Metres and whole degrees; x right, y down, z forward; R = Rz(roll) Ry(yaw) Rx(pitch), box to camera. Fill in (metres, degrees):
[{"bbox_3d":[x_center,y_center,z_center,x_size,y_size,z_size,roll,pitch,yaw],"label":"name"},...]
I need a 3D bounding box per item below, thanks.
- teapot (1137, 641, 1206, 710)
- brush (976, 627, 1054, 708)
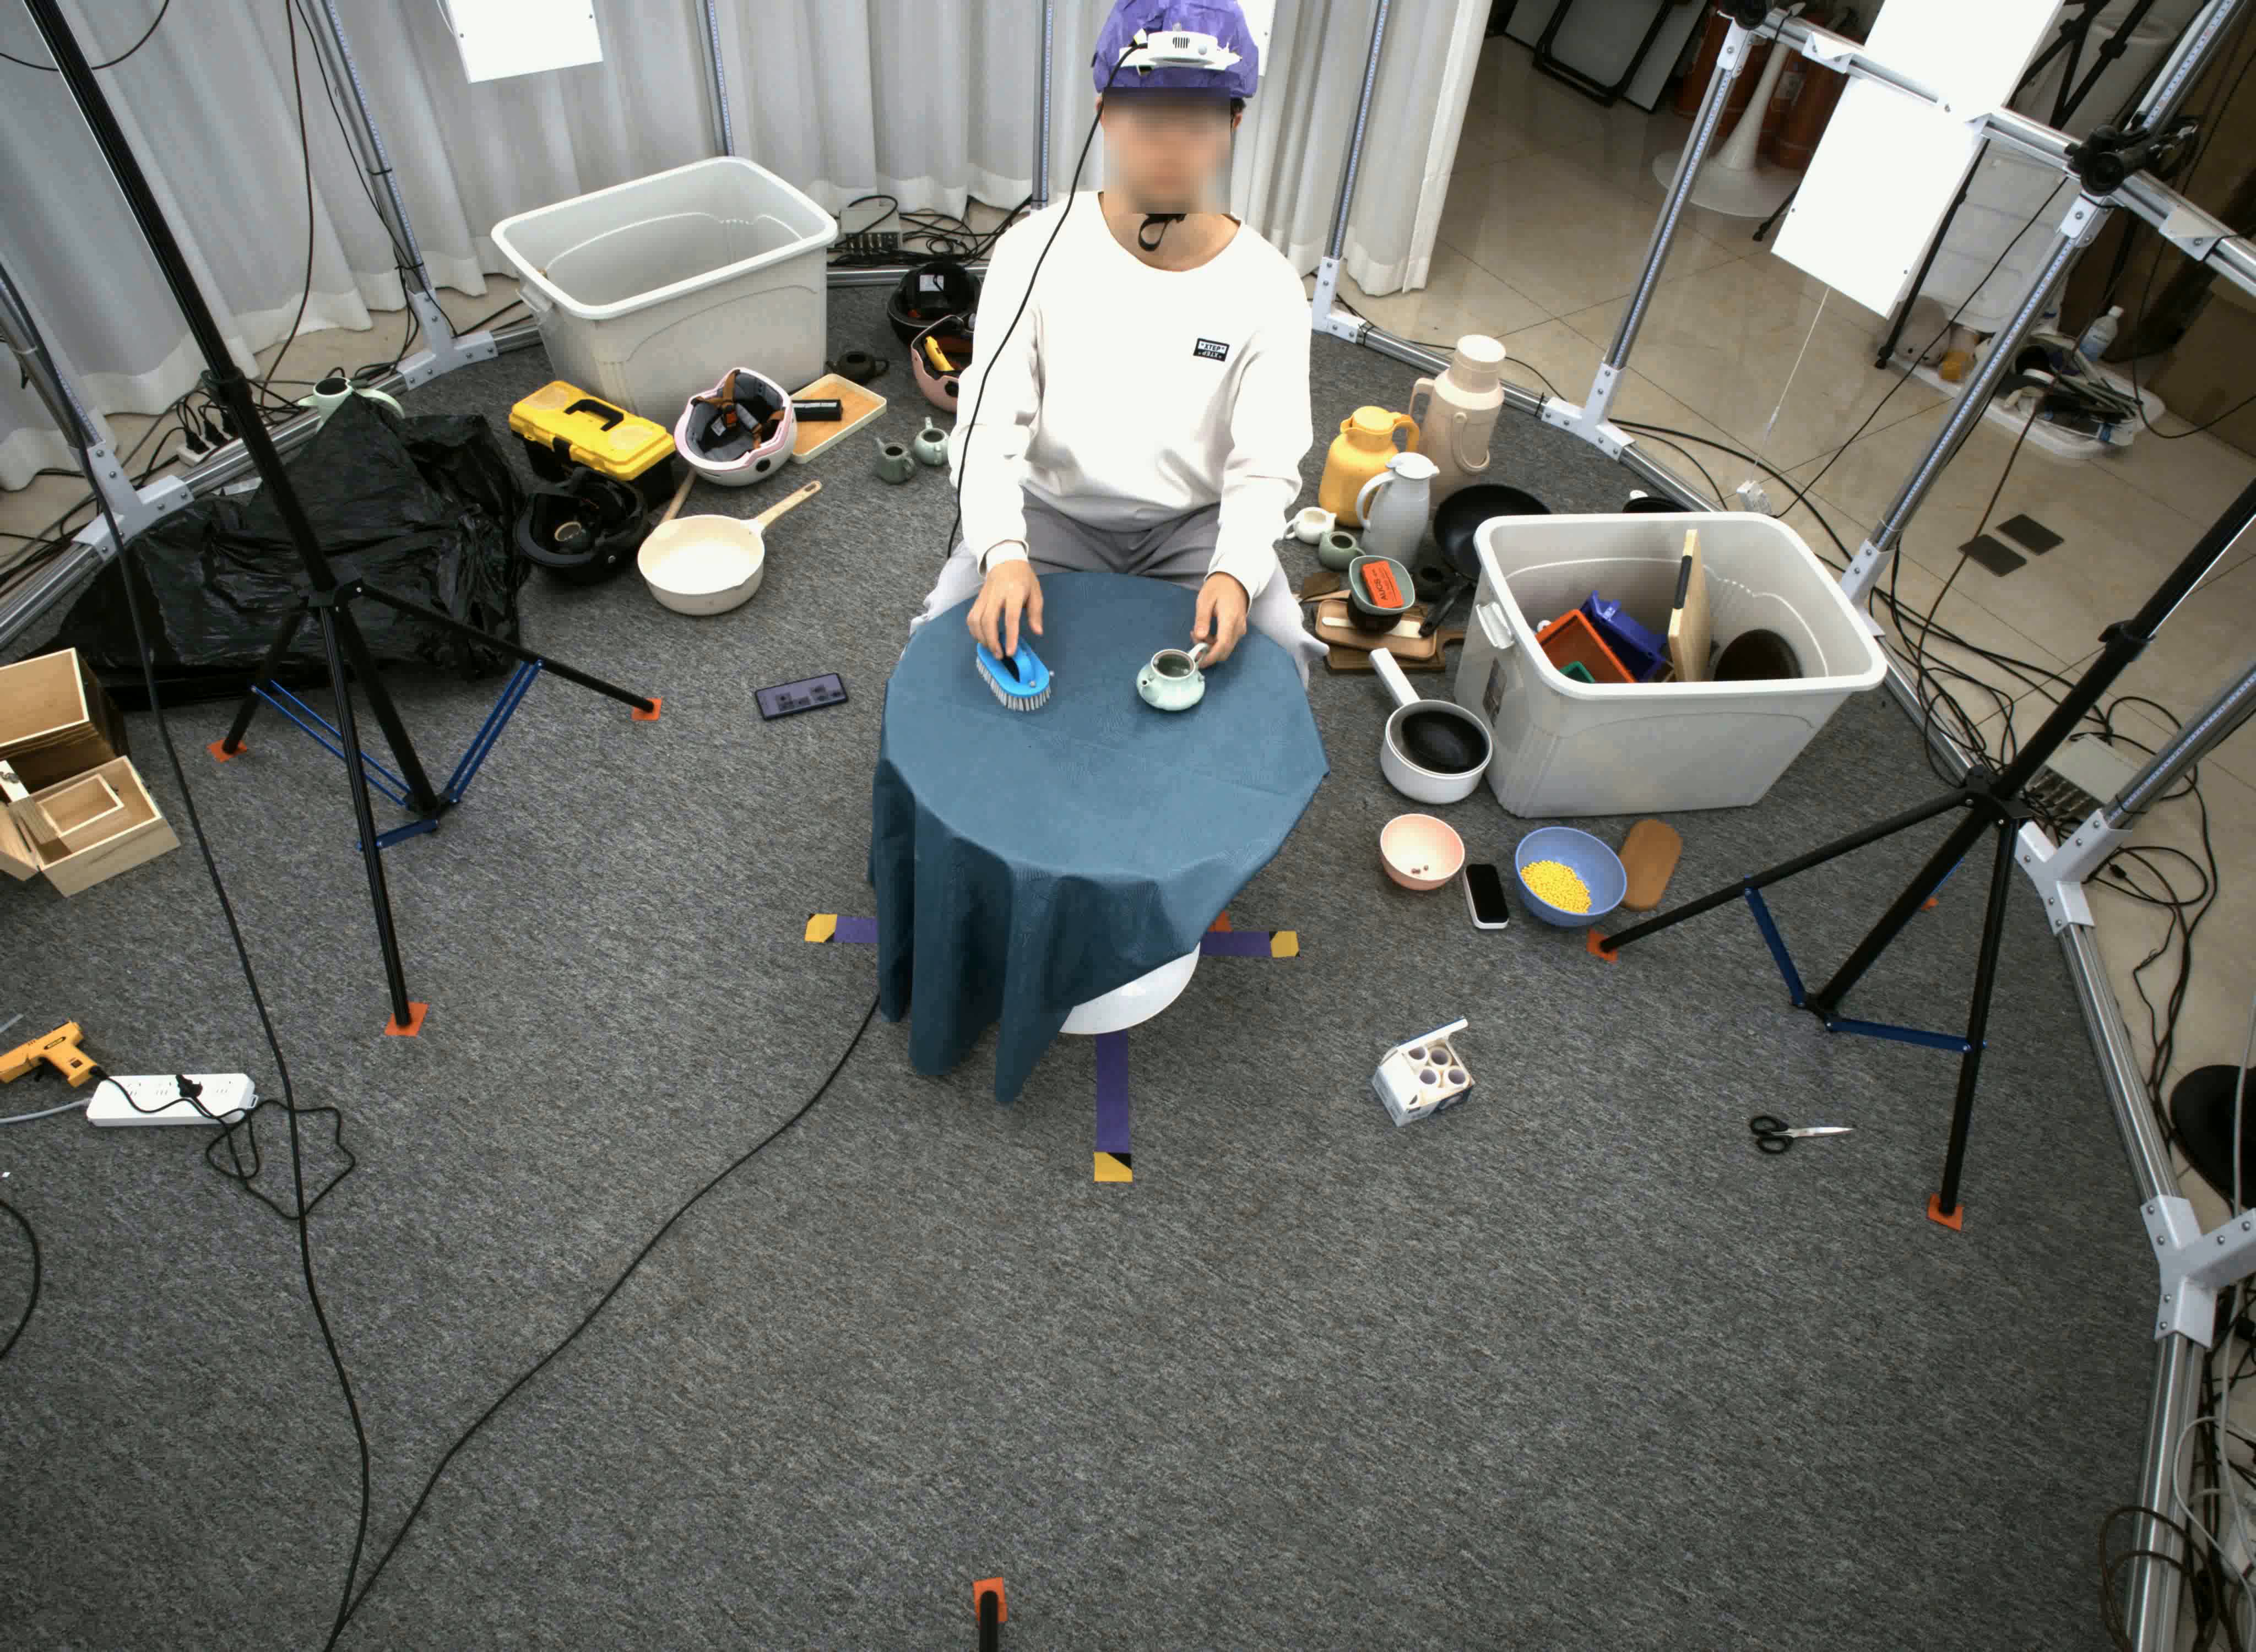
[{"bbox_3d":[0.065,-0.212,1.816,0.097,0.060,0.138,34,55,26],"label":"teapot"},{"bbox_3d":[-0.162,-0.234,1.814,0.084,0.062,0.145,-23,54,-17],"label":"brush"}]
